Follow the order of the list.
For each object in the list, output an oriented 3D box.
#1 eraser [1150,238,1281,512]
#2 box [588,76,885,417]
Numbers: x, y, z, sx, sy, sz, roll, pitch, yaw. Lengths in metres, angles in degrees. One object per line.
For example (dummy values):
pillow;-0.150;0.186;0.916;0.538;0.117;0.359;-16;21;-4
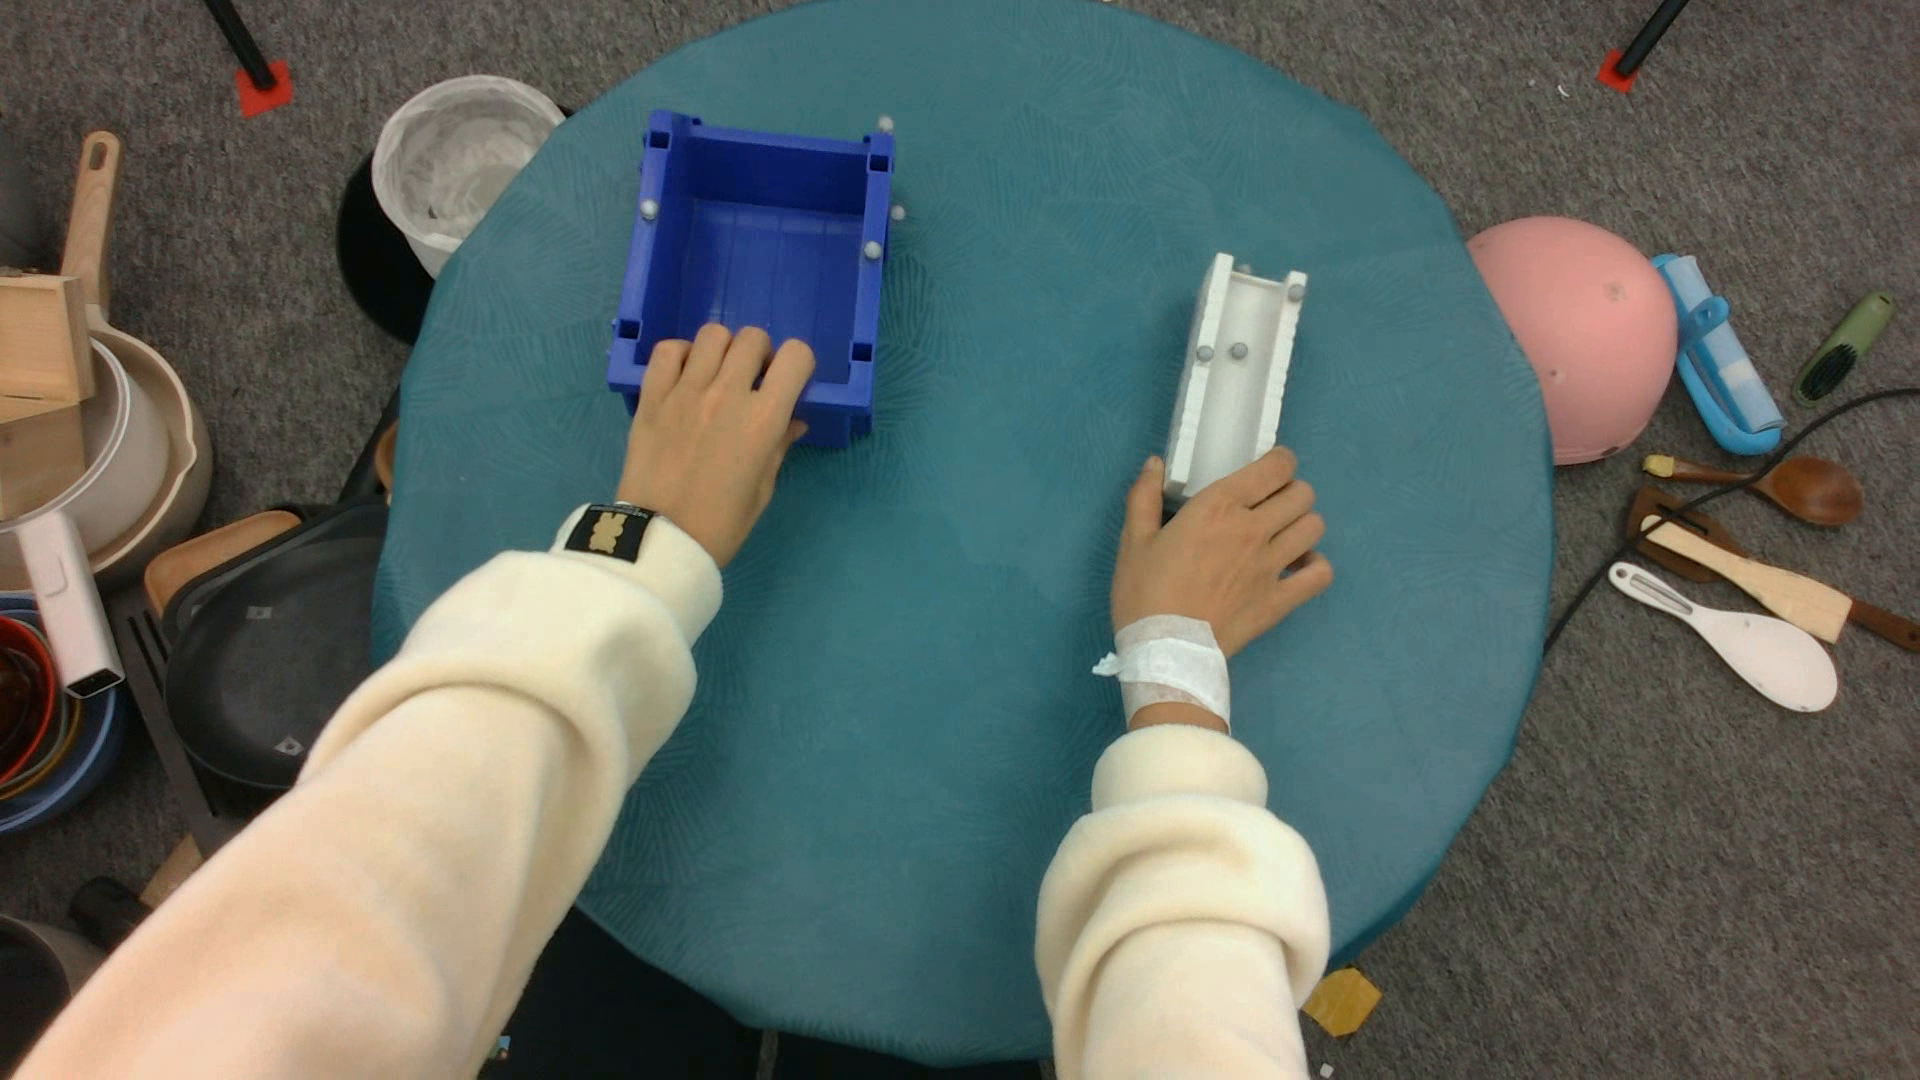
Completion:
eraser;0.131;-0.085;0.713;0.050;0.046;0.135;12;68;-4
box;-0.109;-0.154;0.697;0.124;0.081;0.180;6;71;-3
